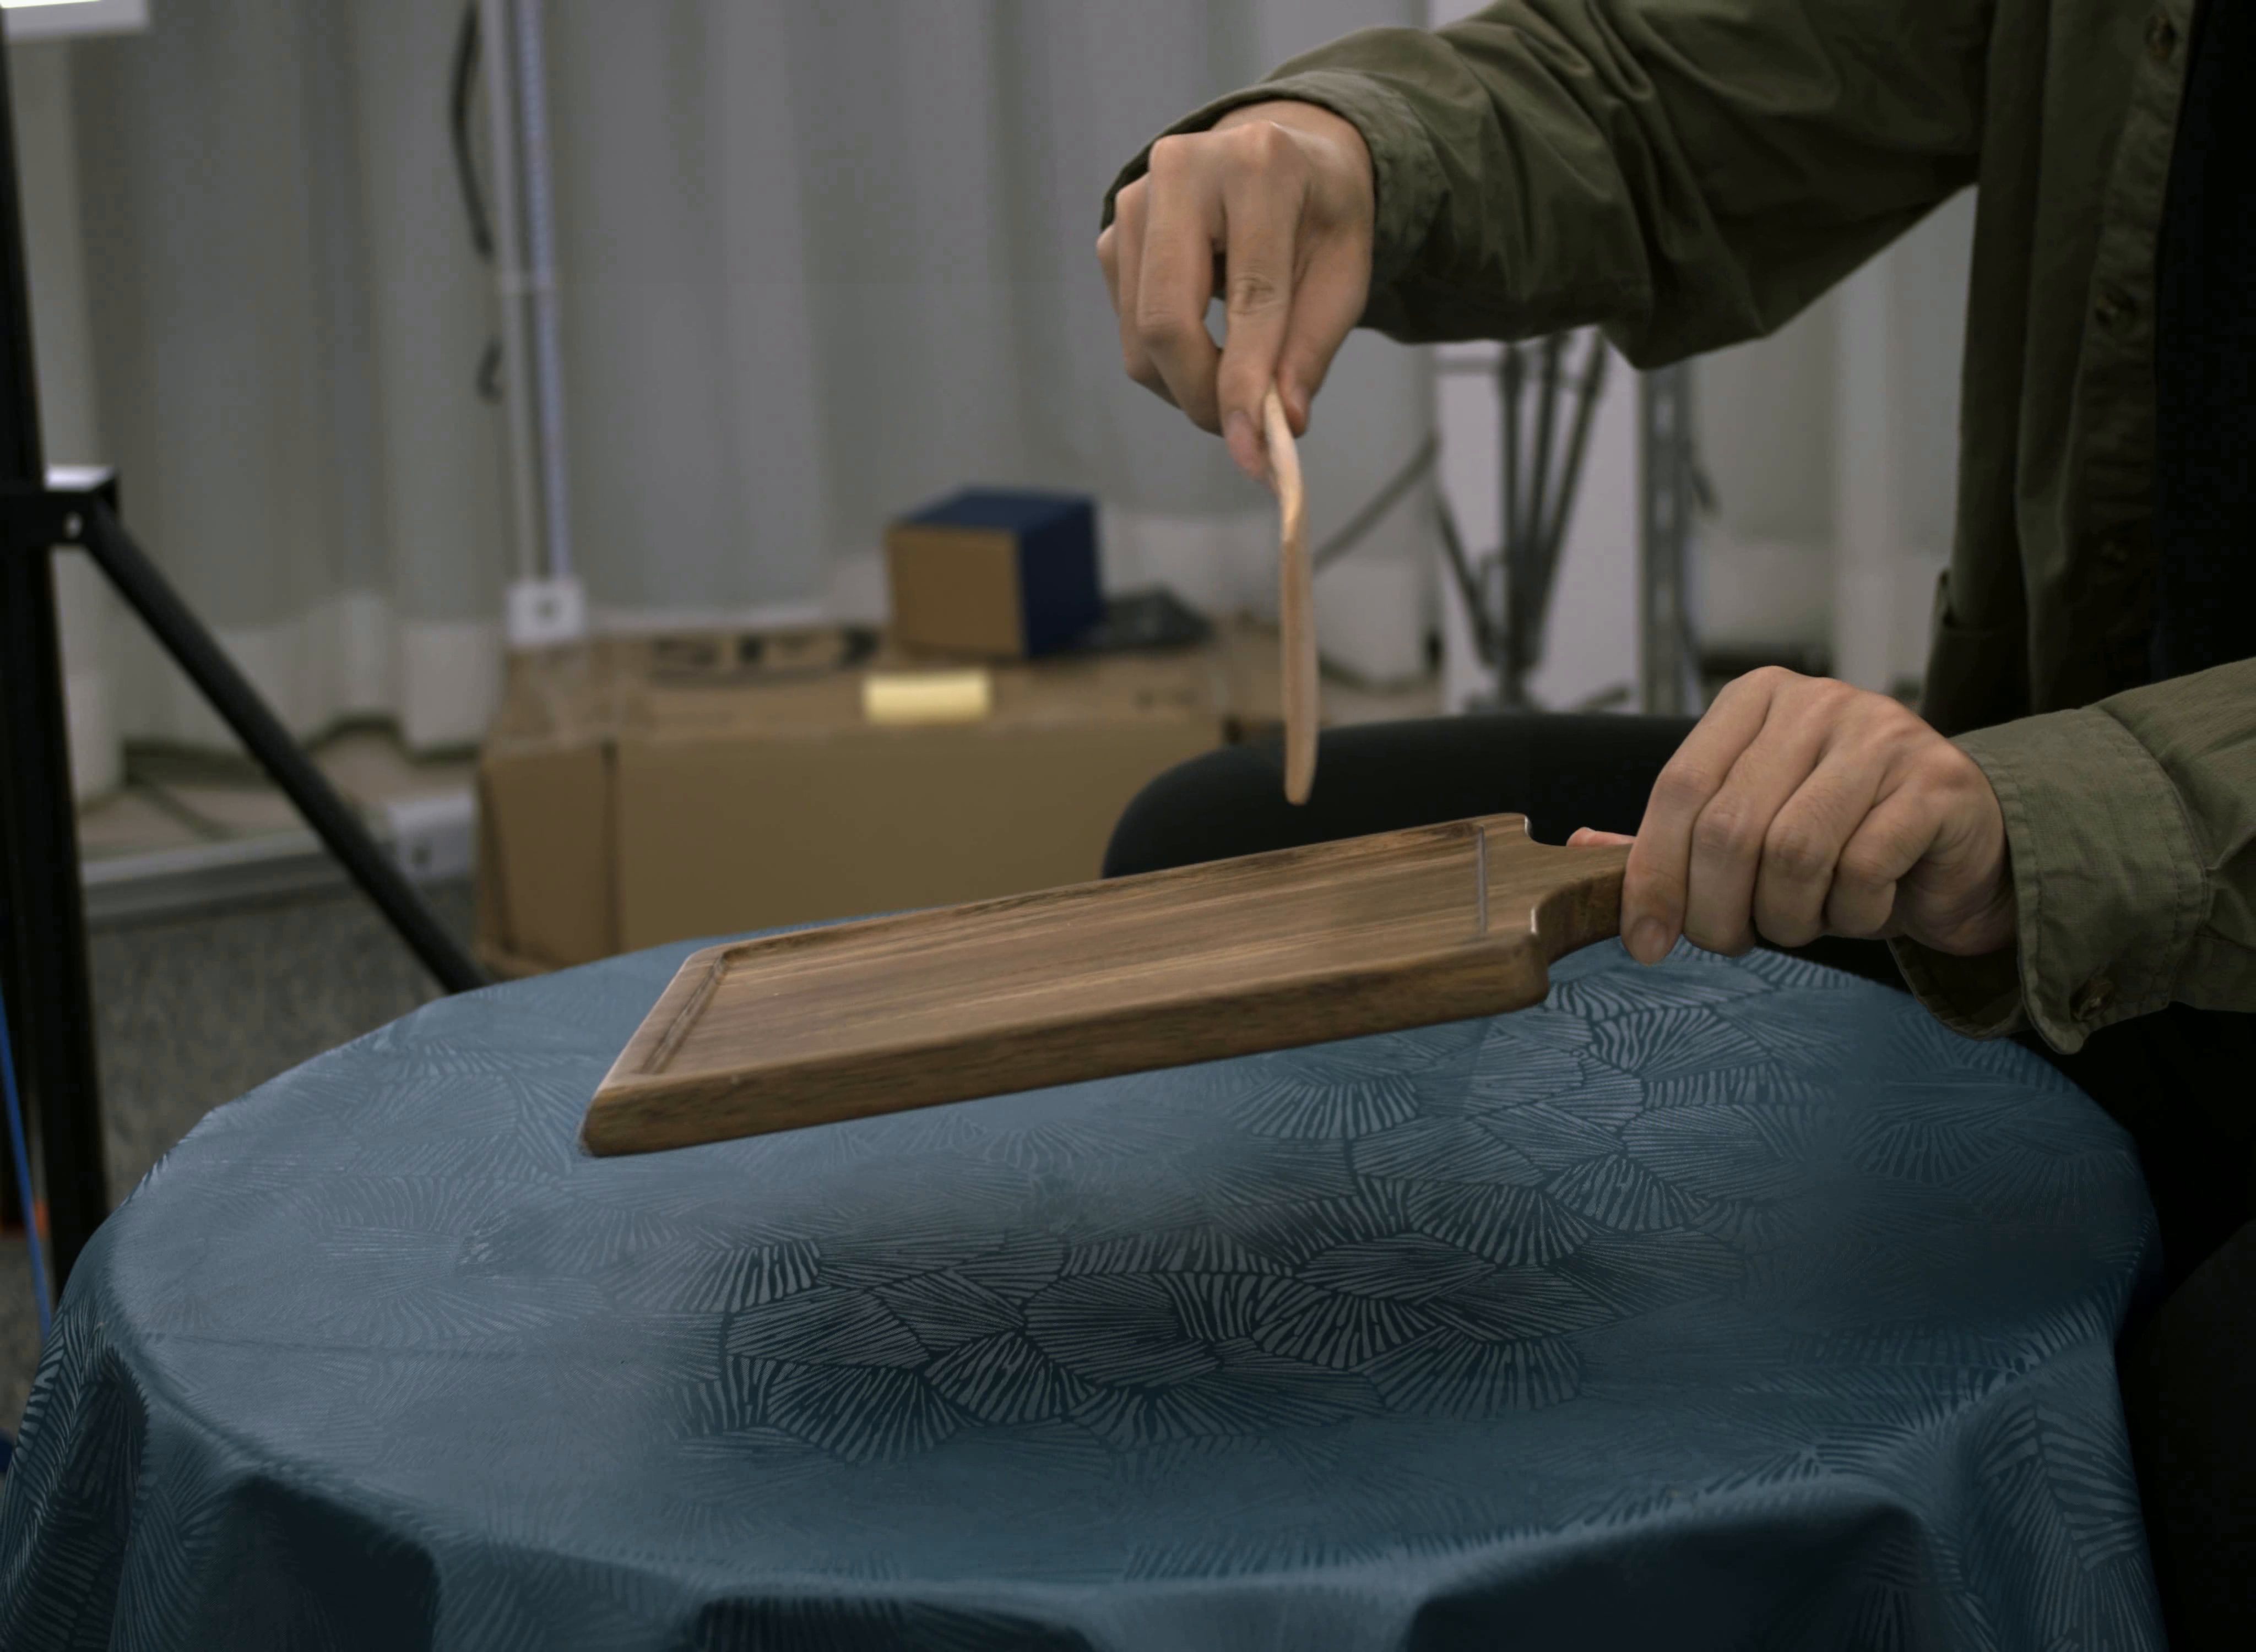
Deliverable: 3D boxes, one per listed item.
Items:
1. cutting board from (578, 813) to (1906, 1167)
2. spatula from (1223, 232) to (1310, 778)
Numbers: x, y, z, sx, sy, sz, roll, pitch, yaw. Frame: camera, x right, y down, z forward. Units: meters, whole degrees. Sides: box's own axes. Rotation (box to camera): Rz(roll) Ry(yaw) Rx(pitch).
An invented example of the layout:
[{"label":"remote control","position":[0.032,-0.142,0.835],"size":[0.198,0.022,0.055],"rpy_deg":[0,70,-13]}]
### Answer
[{"label":"cutting board","position":[0.035,0.036,1.439],"size":[0.352,0.023,0.200],"rpy_deg":[-9,9,8]},{"label":"spatula","position":[0.039,-0.114,1.571],"size":[0.016,0.079,0.330],"rpy_deg":[-4,25,-2]}]
